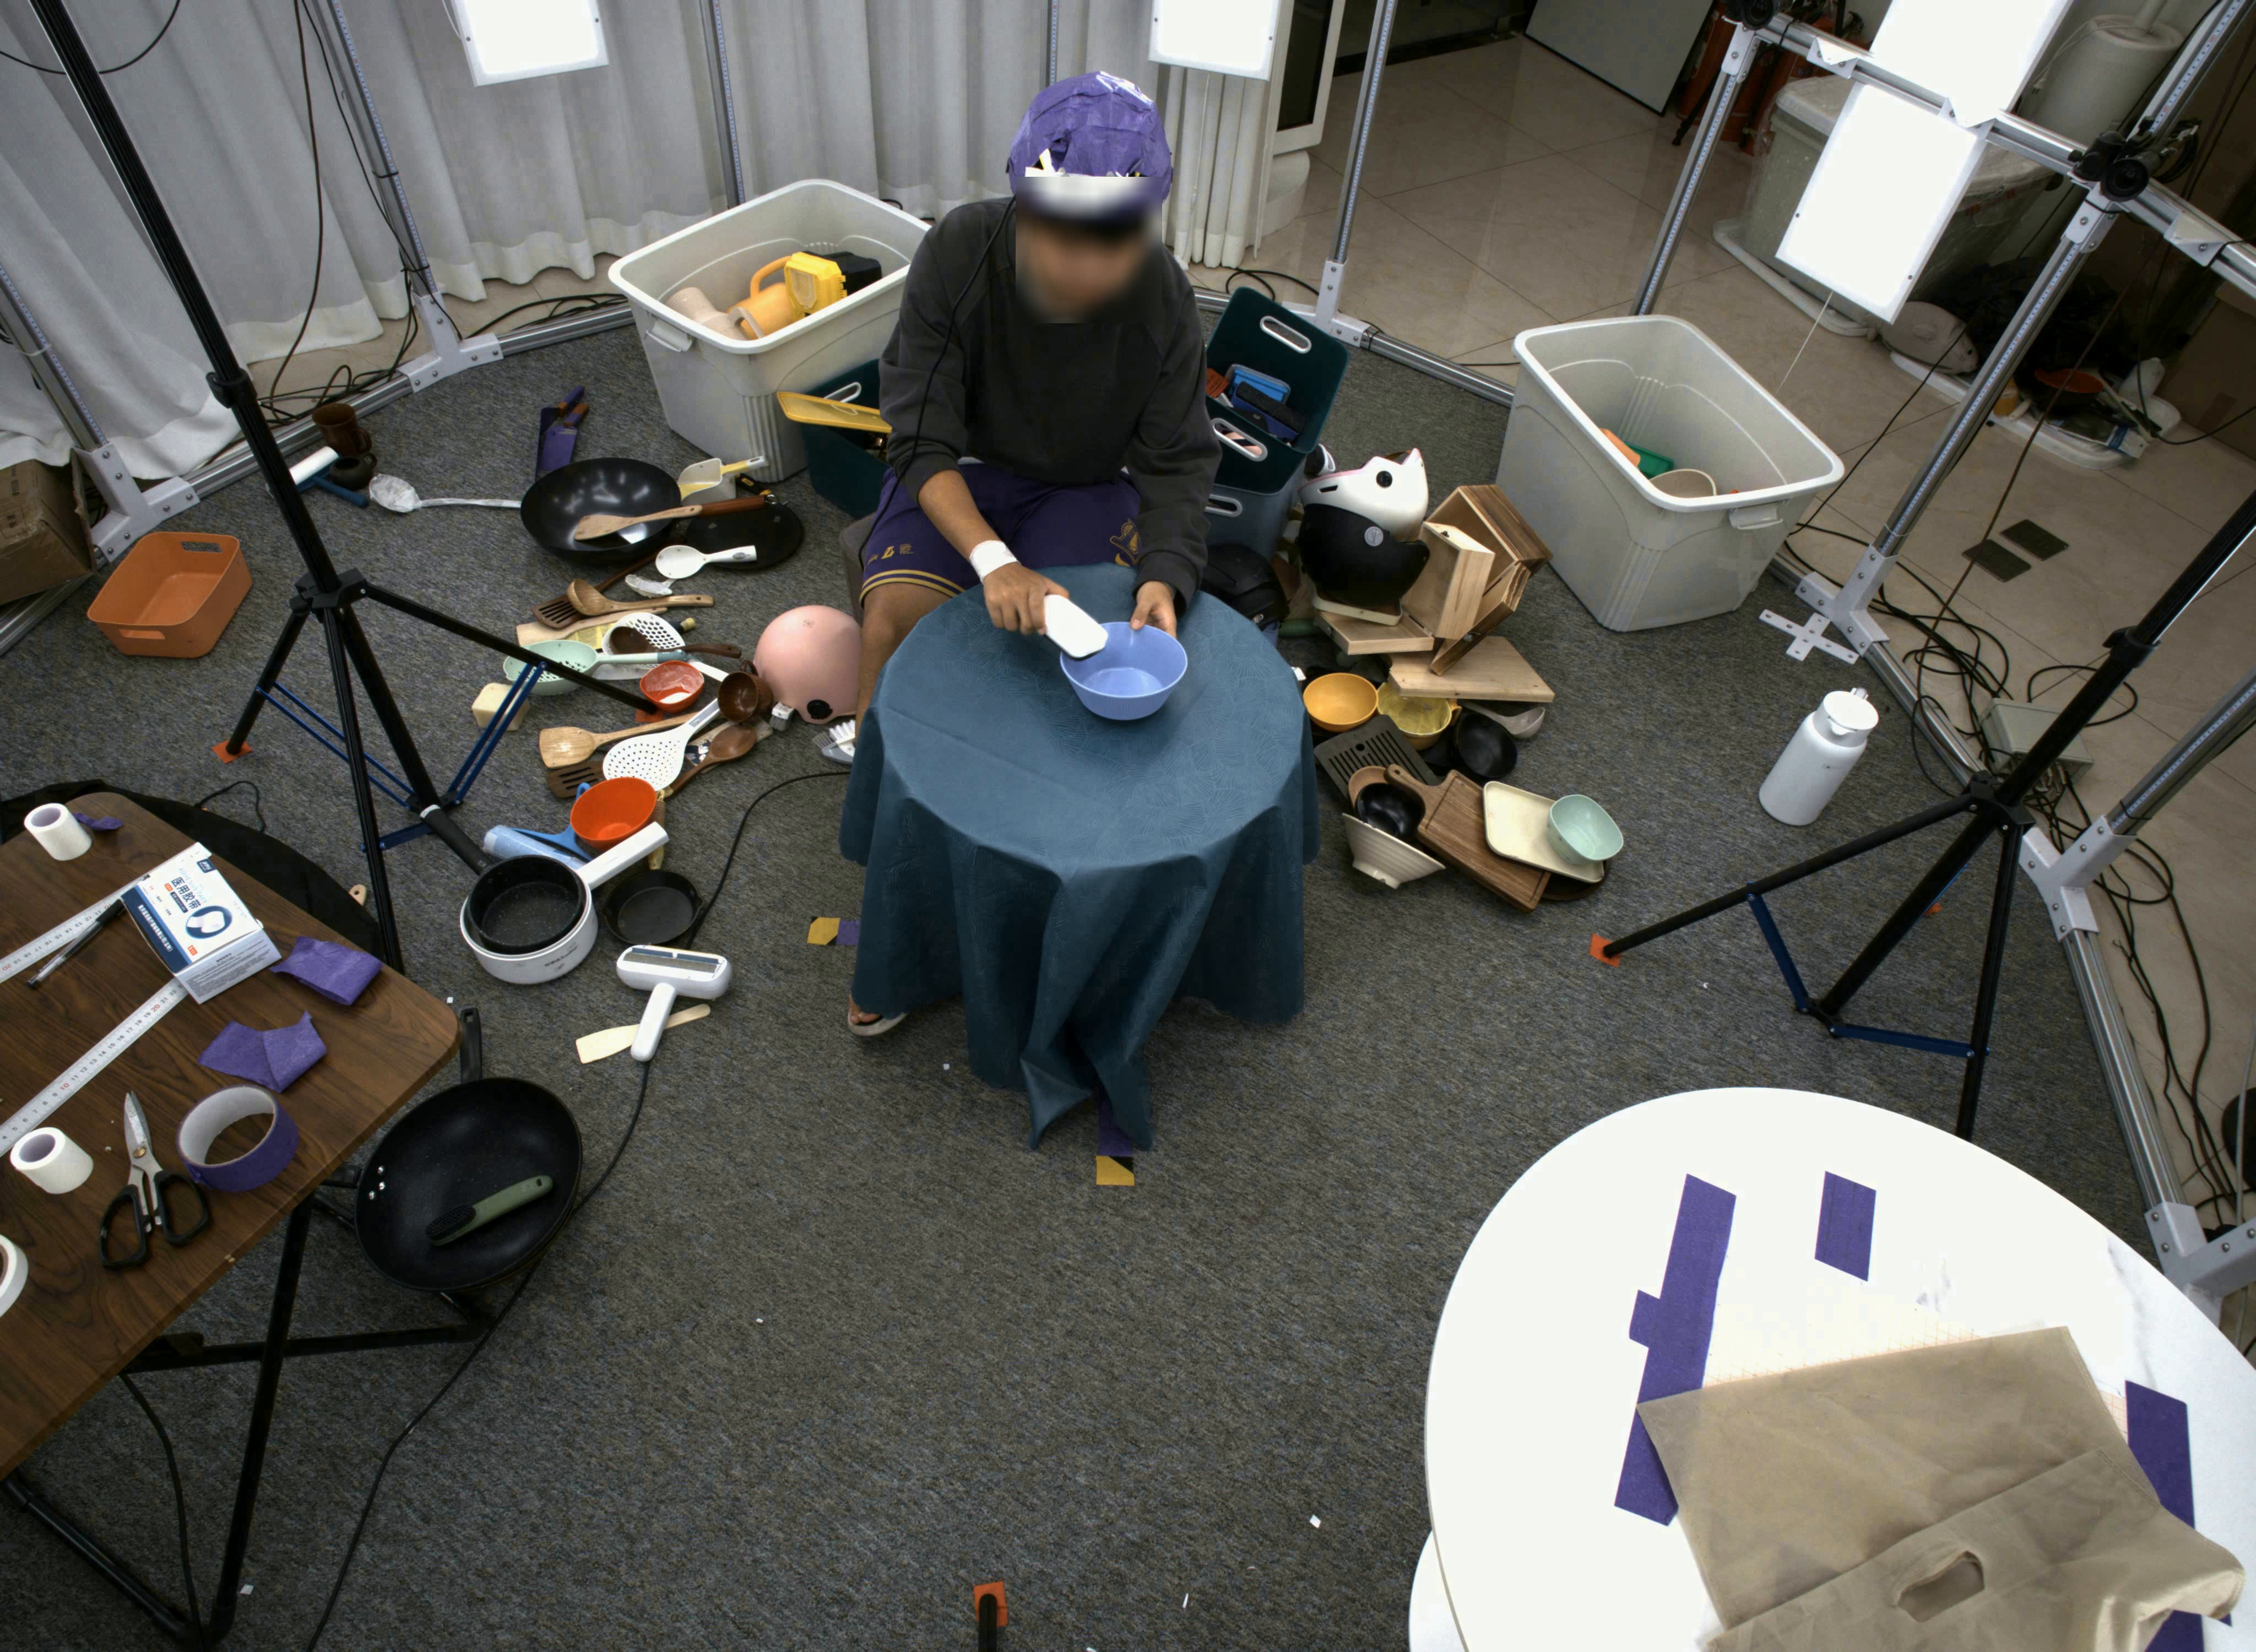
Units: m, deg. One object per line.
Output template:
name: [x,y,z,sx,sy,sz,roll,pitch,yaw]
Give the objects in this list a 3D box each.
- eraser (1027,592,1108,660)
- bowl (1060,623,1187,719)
eraser: [-0.085,-0.284,1.803,0.064,0.034,0.134,-25,53,-30]
bowl: [-0.008,-0.209,1.793,0.176,0.068,0.180,2,42,-2]
